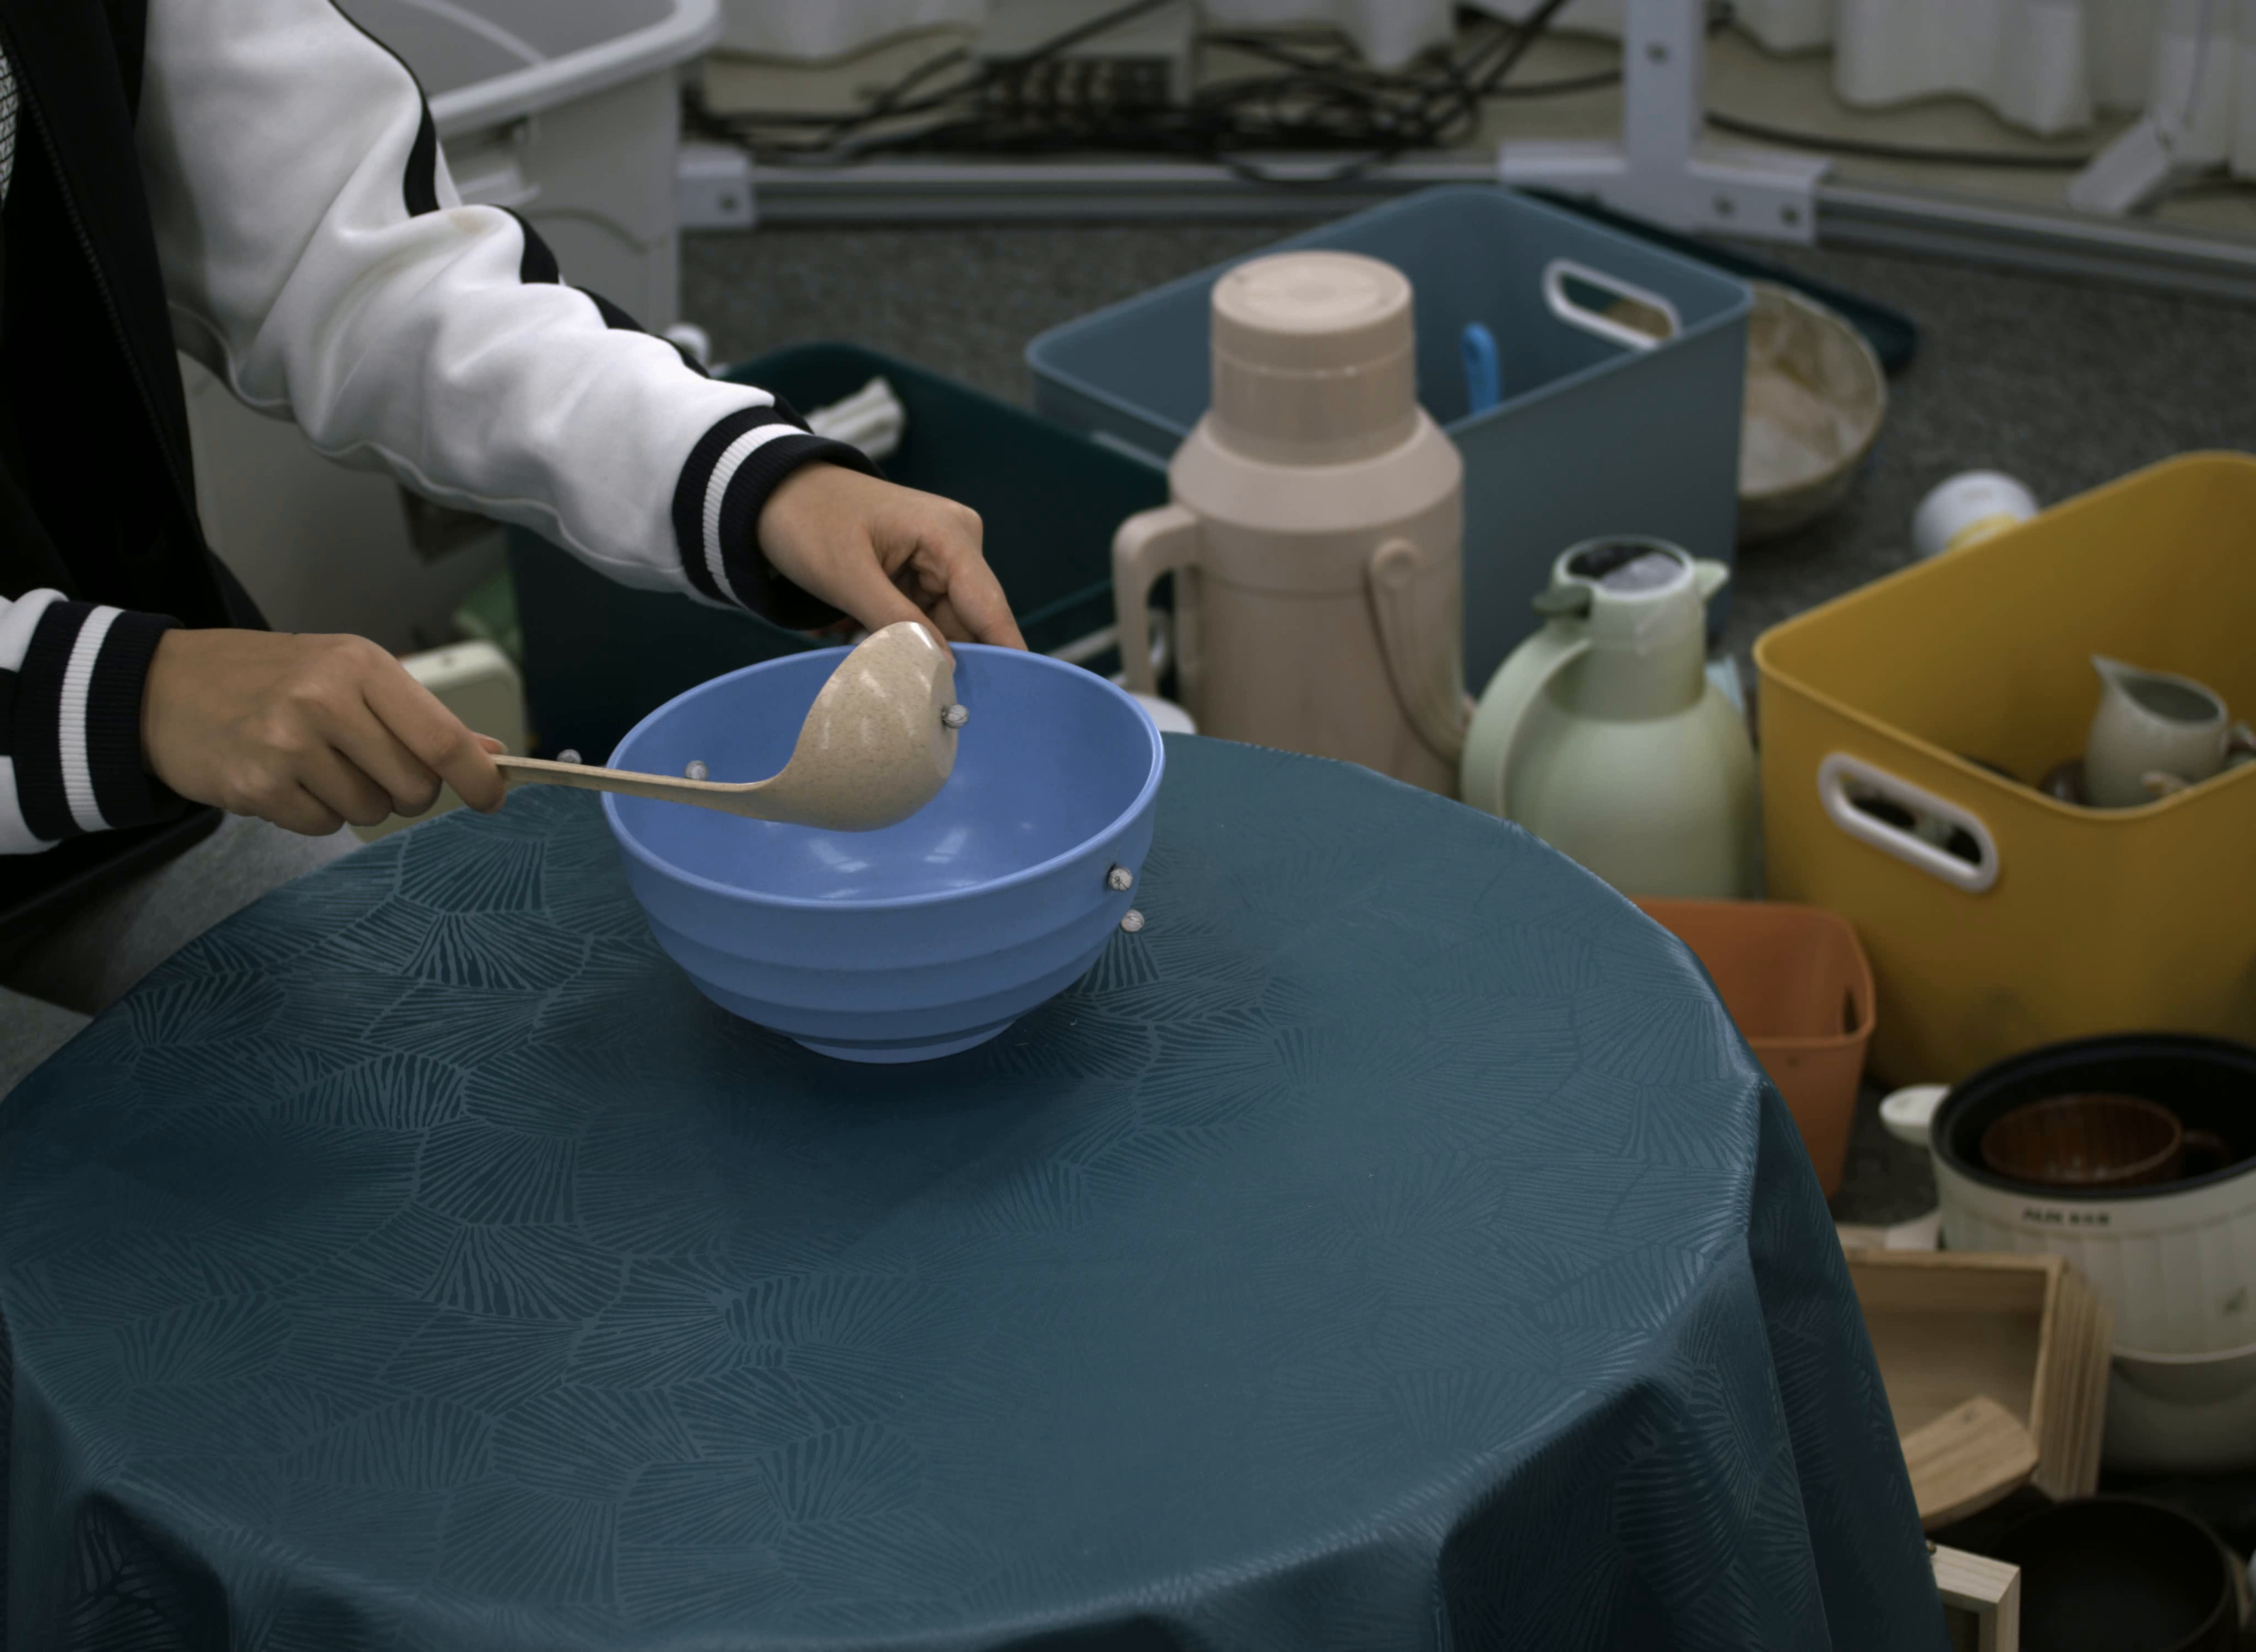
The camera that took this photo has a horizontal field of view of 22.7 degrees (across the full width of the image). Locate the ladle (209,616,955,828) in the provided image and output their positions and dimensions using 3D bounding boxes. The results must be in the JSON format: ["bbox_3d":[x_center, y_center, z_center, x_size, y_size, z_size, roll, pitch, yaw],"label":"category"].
[{"bbox_3d":[-0.184,-0.043,1.902,0.253,0.071,0.074,5,69,11],"label":"ladle"}]

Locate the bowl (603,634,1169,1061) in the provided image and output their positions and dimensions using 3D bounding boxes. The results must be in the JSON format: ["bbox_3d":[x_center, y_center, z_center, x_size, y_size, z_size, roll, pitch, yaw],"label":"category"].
[{"bbox_3d":[-0.083,0.019,1.964,0.195,0.094,0.199,0,28,1],"label":"bowl"}]
